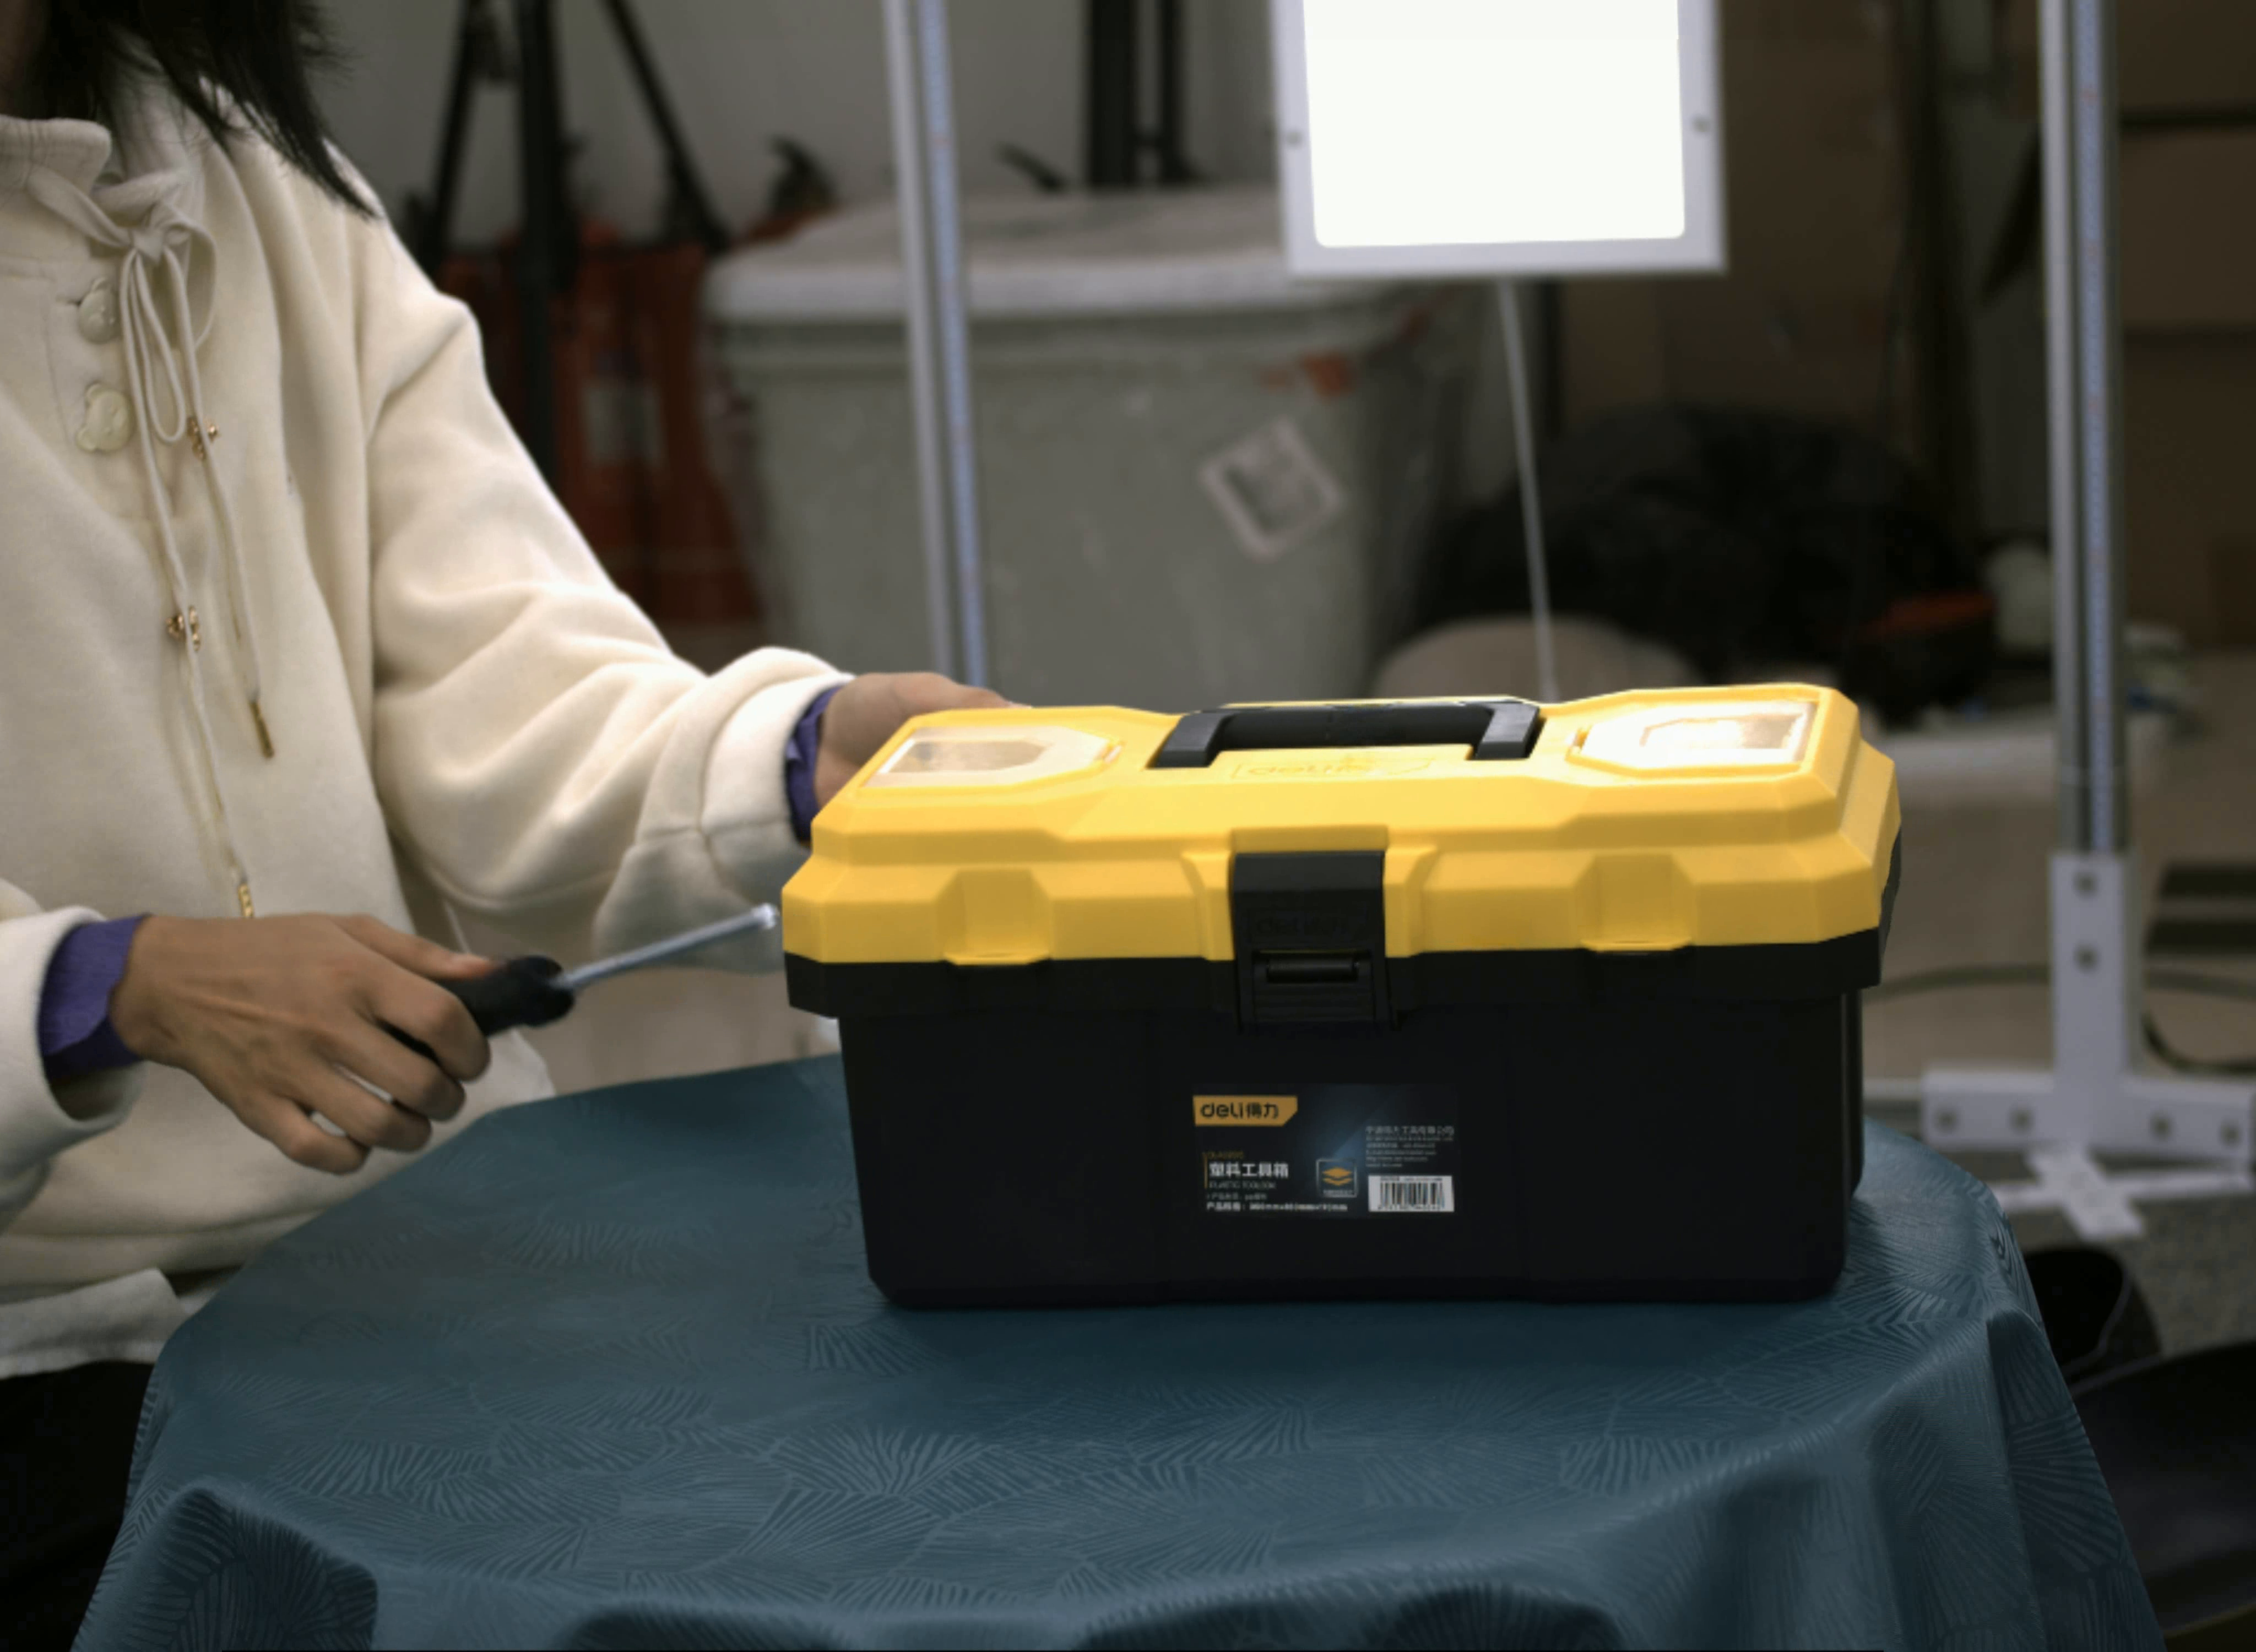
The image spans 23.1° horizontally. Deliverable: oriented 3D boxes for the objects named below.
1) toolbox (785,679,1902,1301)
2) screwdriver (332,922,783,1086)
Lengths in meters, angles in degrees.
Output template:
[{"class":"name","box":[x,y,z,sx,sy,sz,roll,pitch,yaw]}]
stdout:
[{"class":"toolbox","box":[0.075,0.055,1.797,0.354,0.173,0.179,-1,14,14]},{"class":"screwdriver","box":[-0.188,0.055,1.801,0.201,0.031,0.030,-17,3,40]}]
